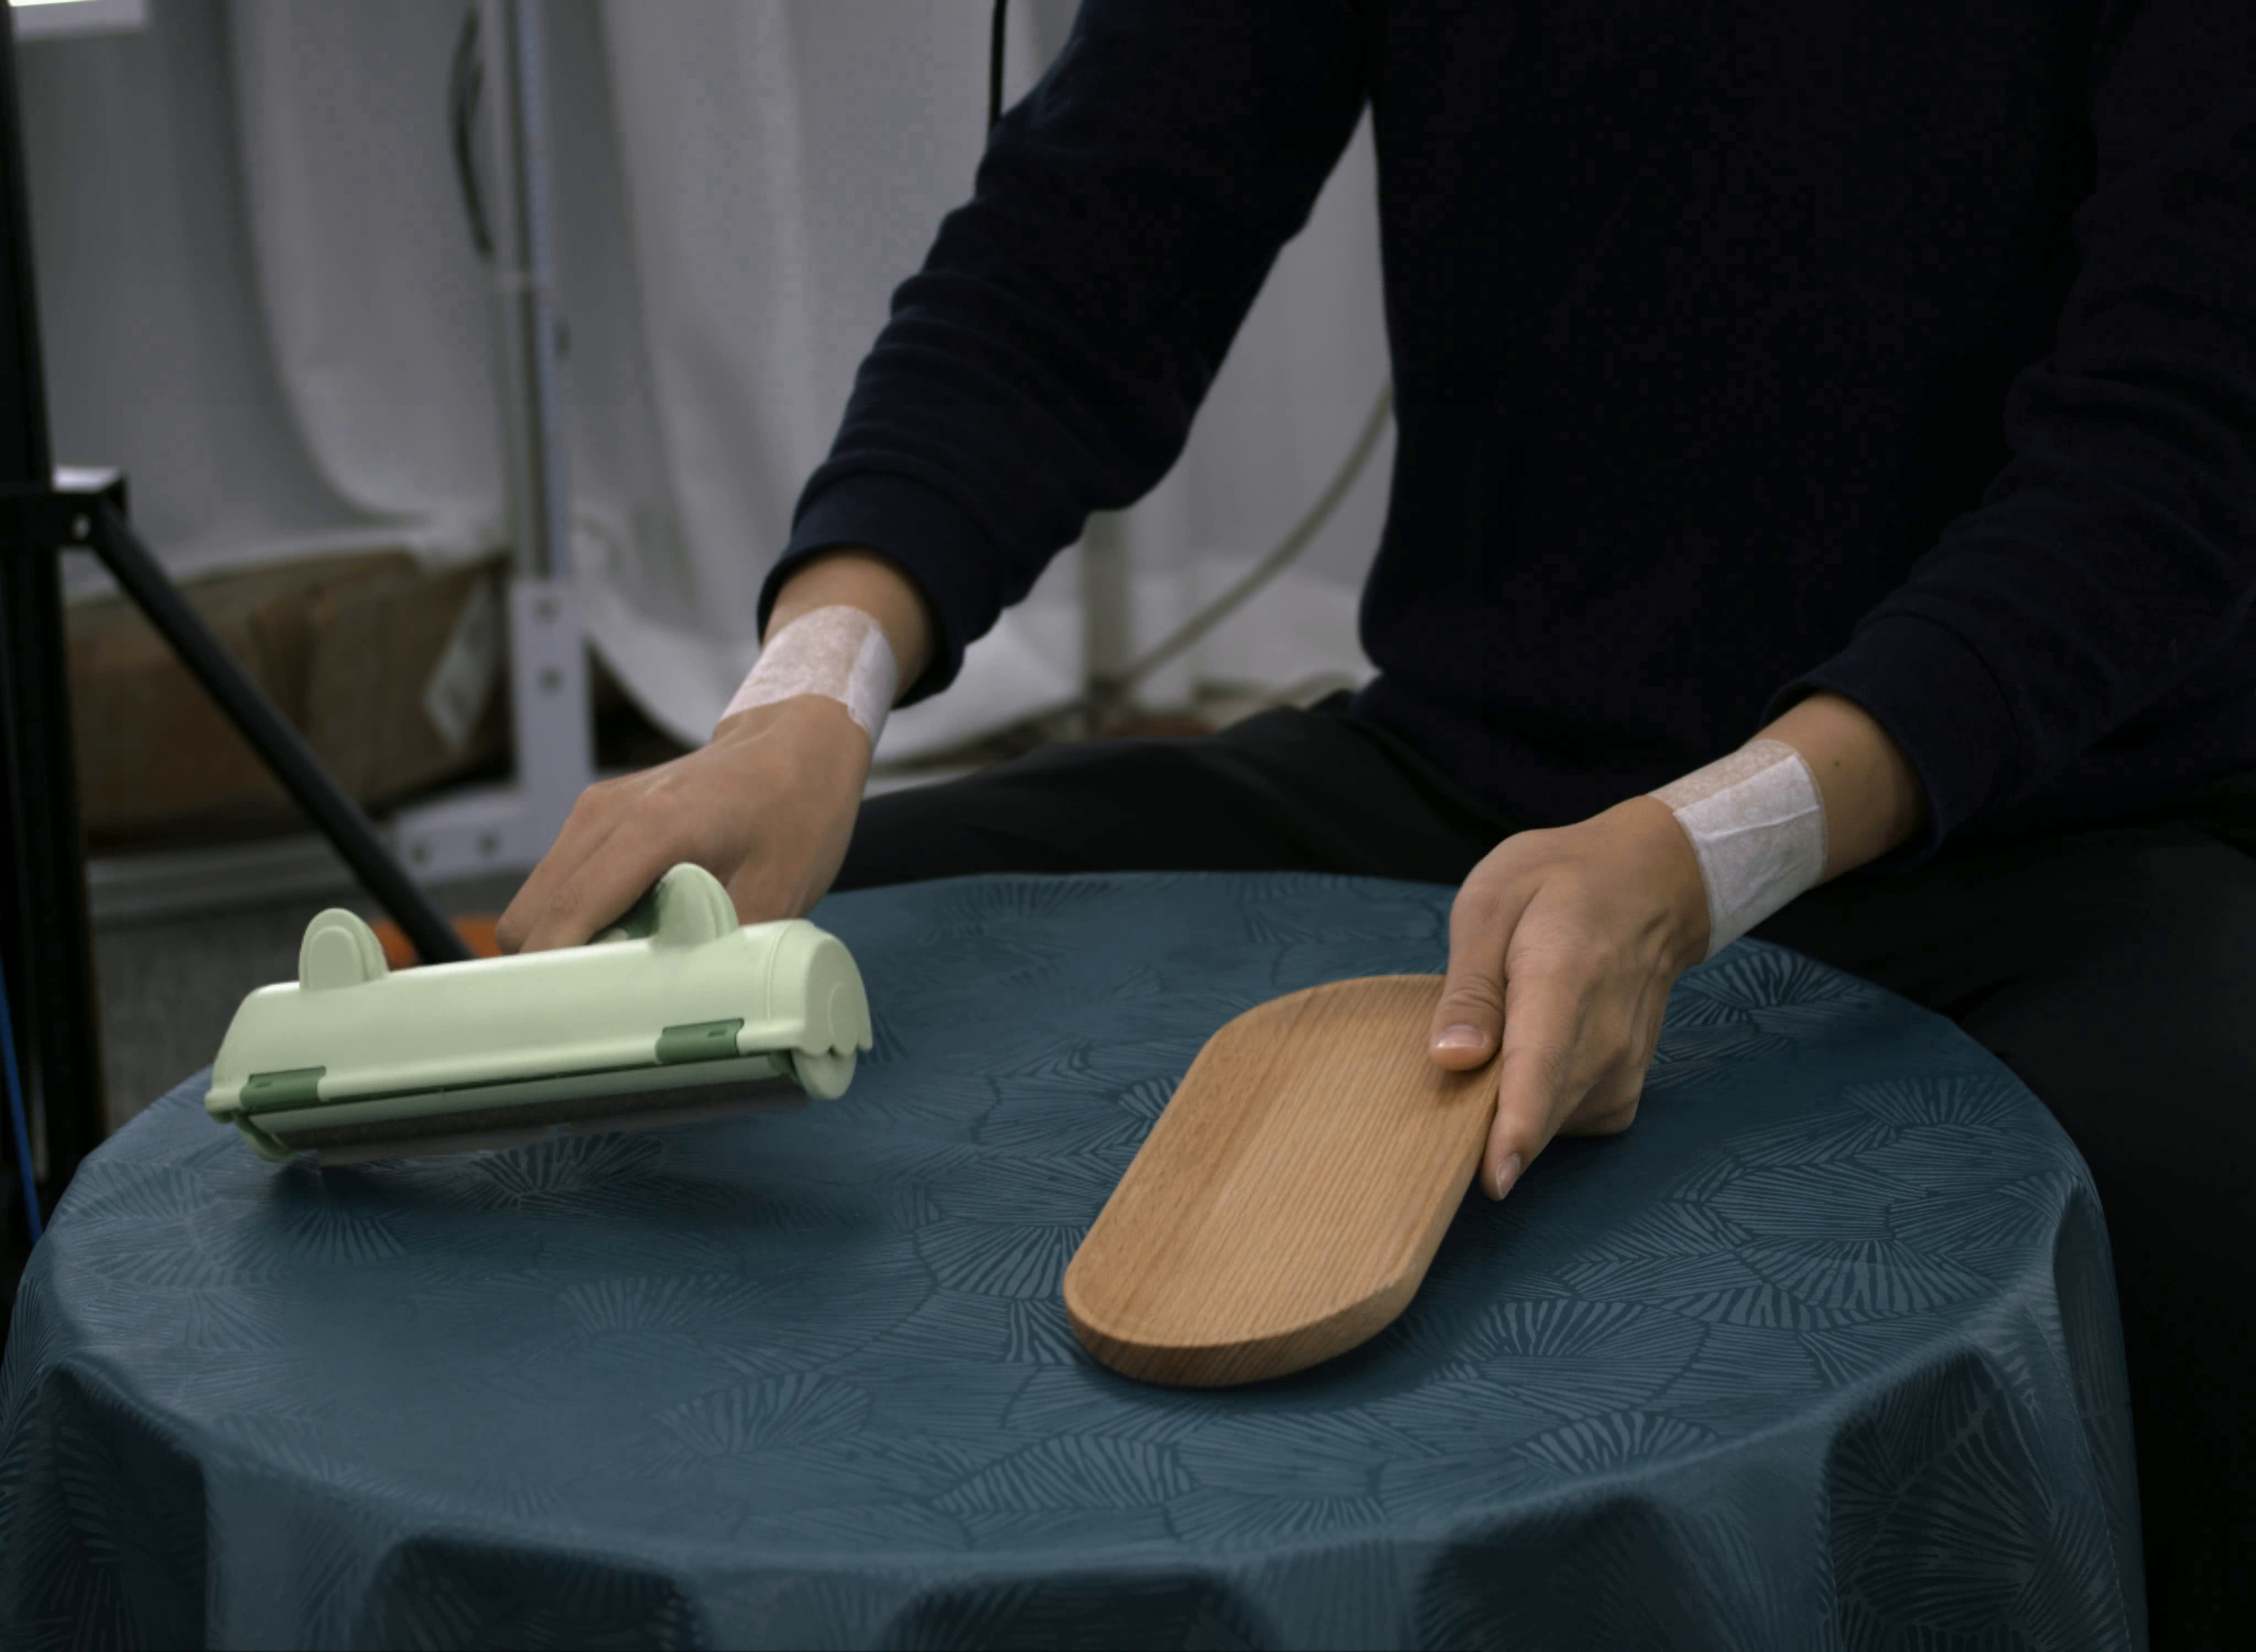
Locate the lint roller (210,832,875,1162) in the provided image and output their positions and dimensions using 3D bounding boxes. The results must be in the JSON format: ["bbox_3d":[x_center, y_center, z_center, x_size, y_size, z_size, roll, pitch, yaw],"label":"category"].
[{"bbox_3d":[-0.164,0.028,1.628,0.201,0.081,0.183,-8,28,20],"label":"lint roller"}]

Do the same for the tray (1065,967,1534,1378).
[{"bbox_3d":[0.052,0.095,1.503,0.103,0.020,0.229,-2,22,19],"label":"tray"}]
